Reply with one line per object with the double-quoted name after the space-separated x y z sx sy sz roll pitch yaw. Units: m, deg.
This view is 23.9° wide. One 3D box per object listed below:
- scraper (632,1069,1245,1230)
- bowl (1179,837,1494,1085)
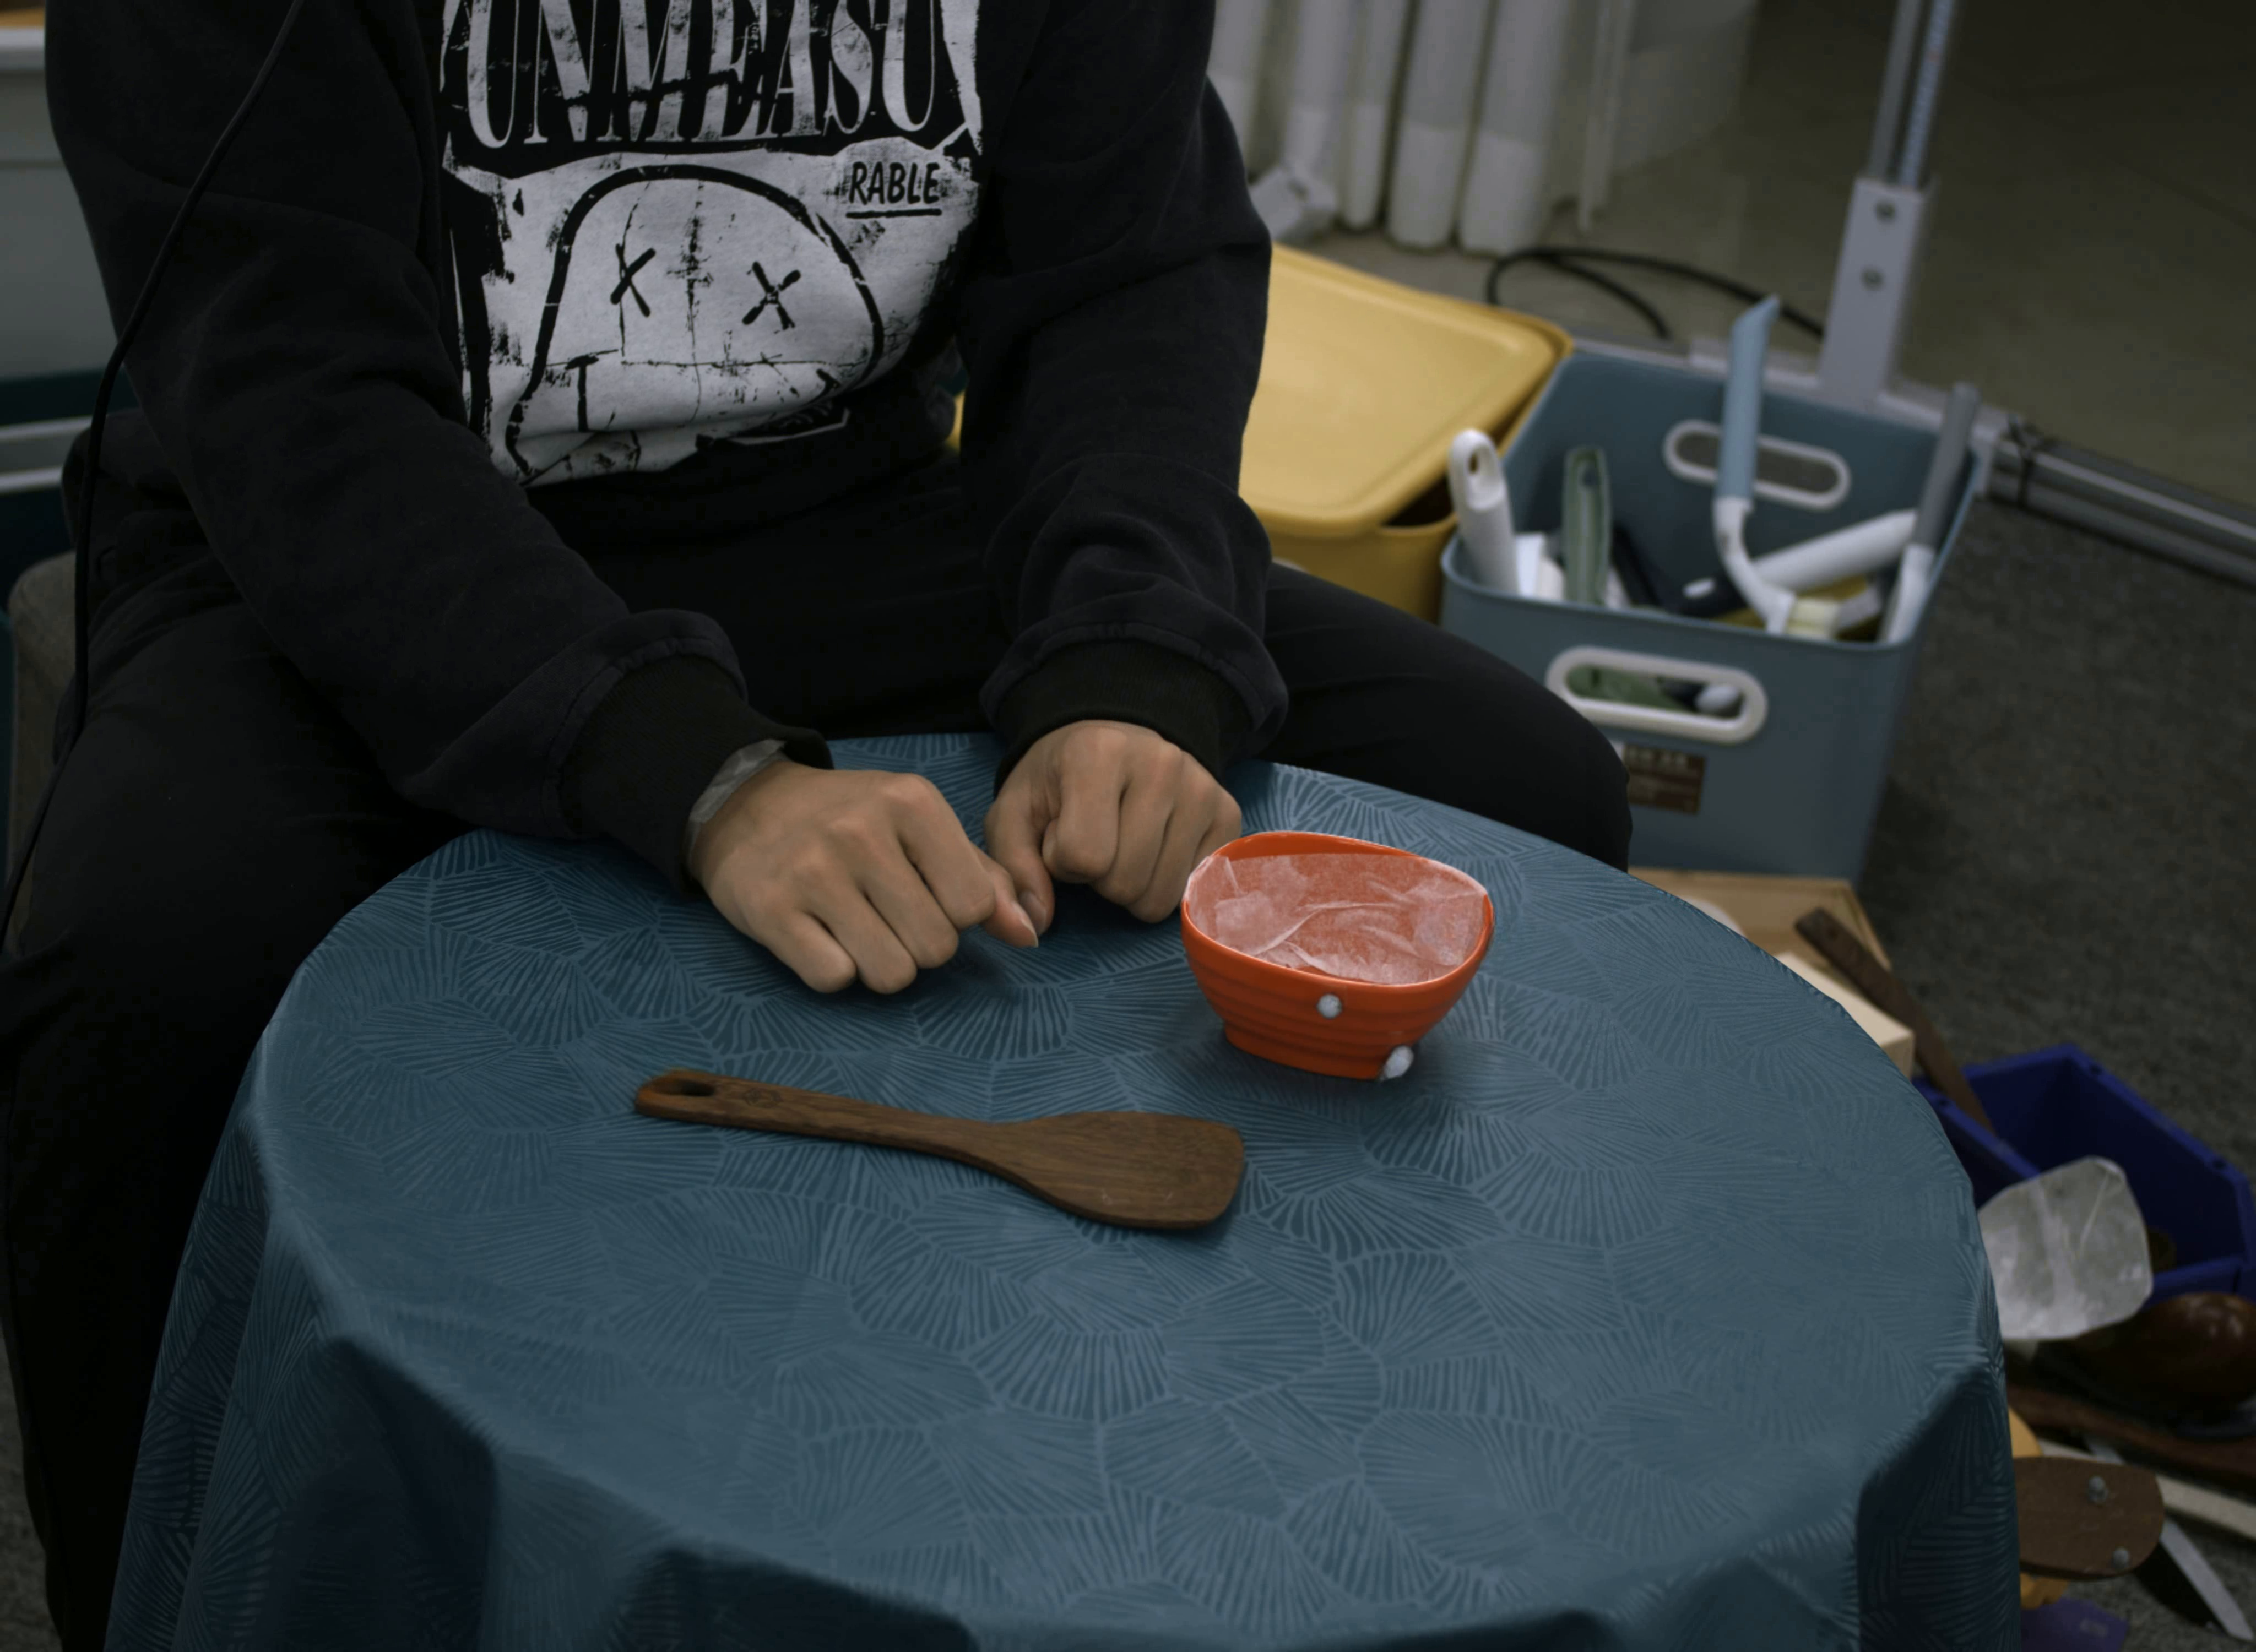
-0.065 0.106 1.813 0.211 0.011 0.076 9 26 6 "scraper"
0.073 0.053 1.906 0.118 0.051 0.119 4 28 -2 "bowl"
